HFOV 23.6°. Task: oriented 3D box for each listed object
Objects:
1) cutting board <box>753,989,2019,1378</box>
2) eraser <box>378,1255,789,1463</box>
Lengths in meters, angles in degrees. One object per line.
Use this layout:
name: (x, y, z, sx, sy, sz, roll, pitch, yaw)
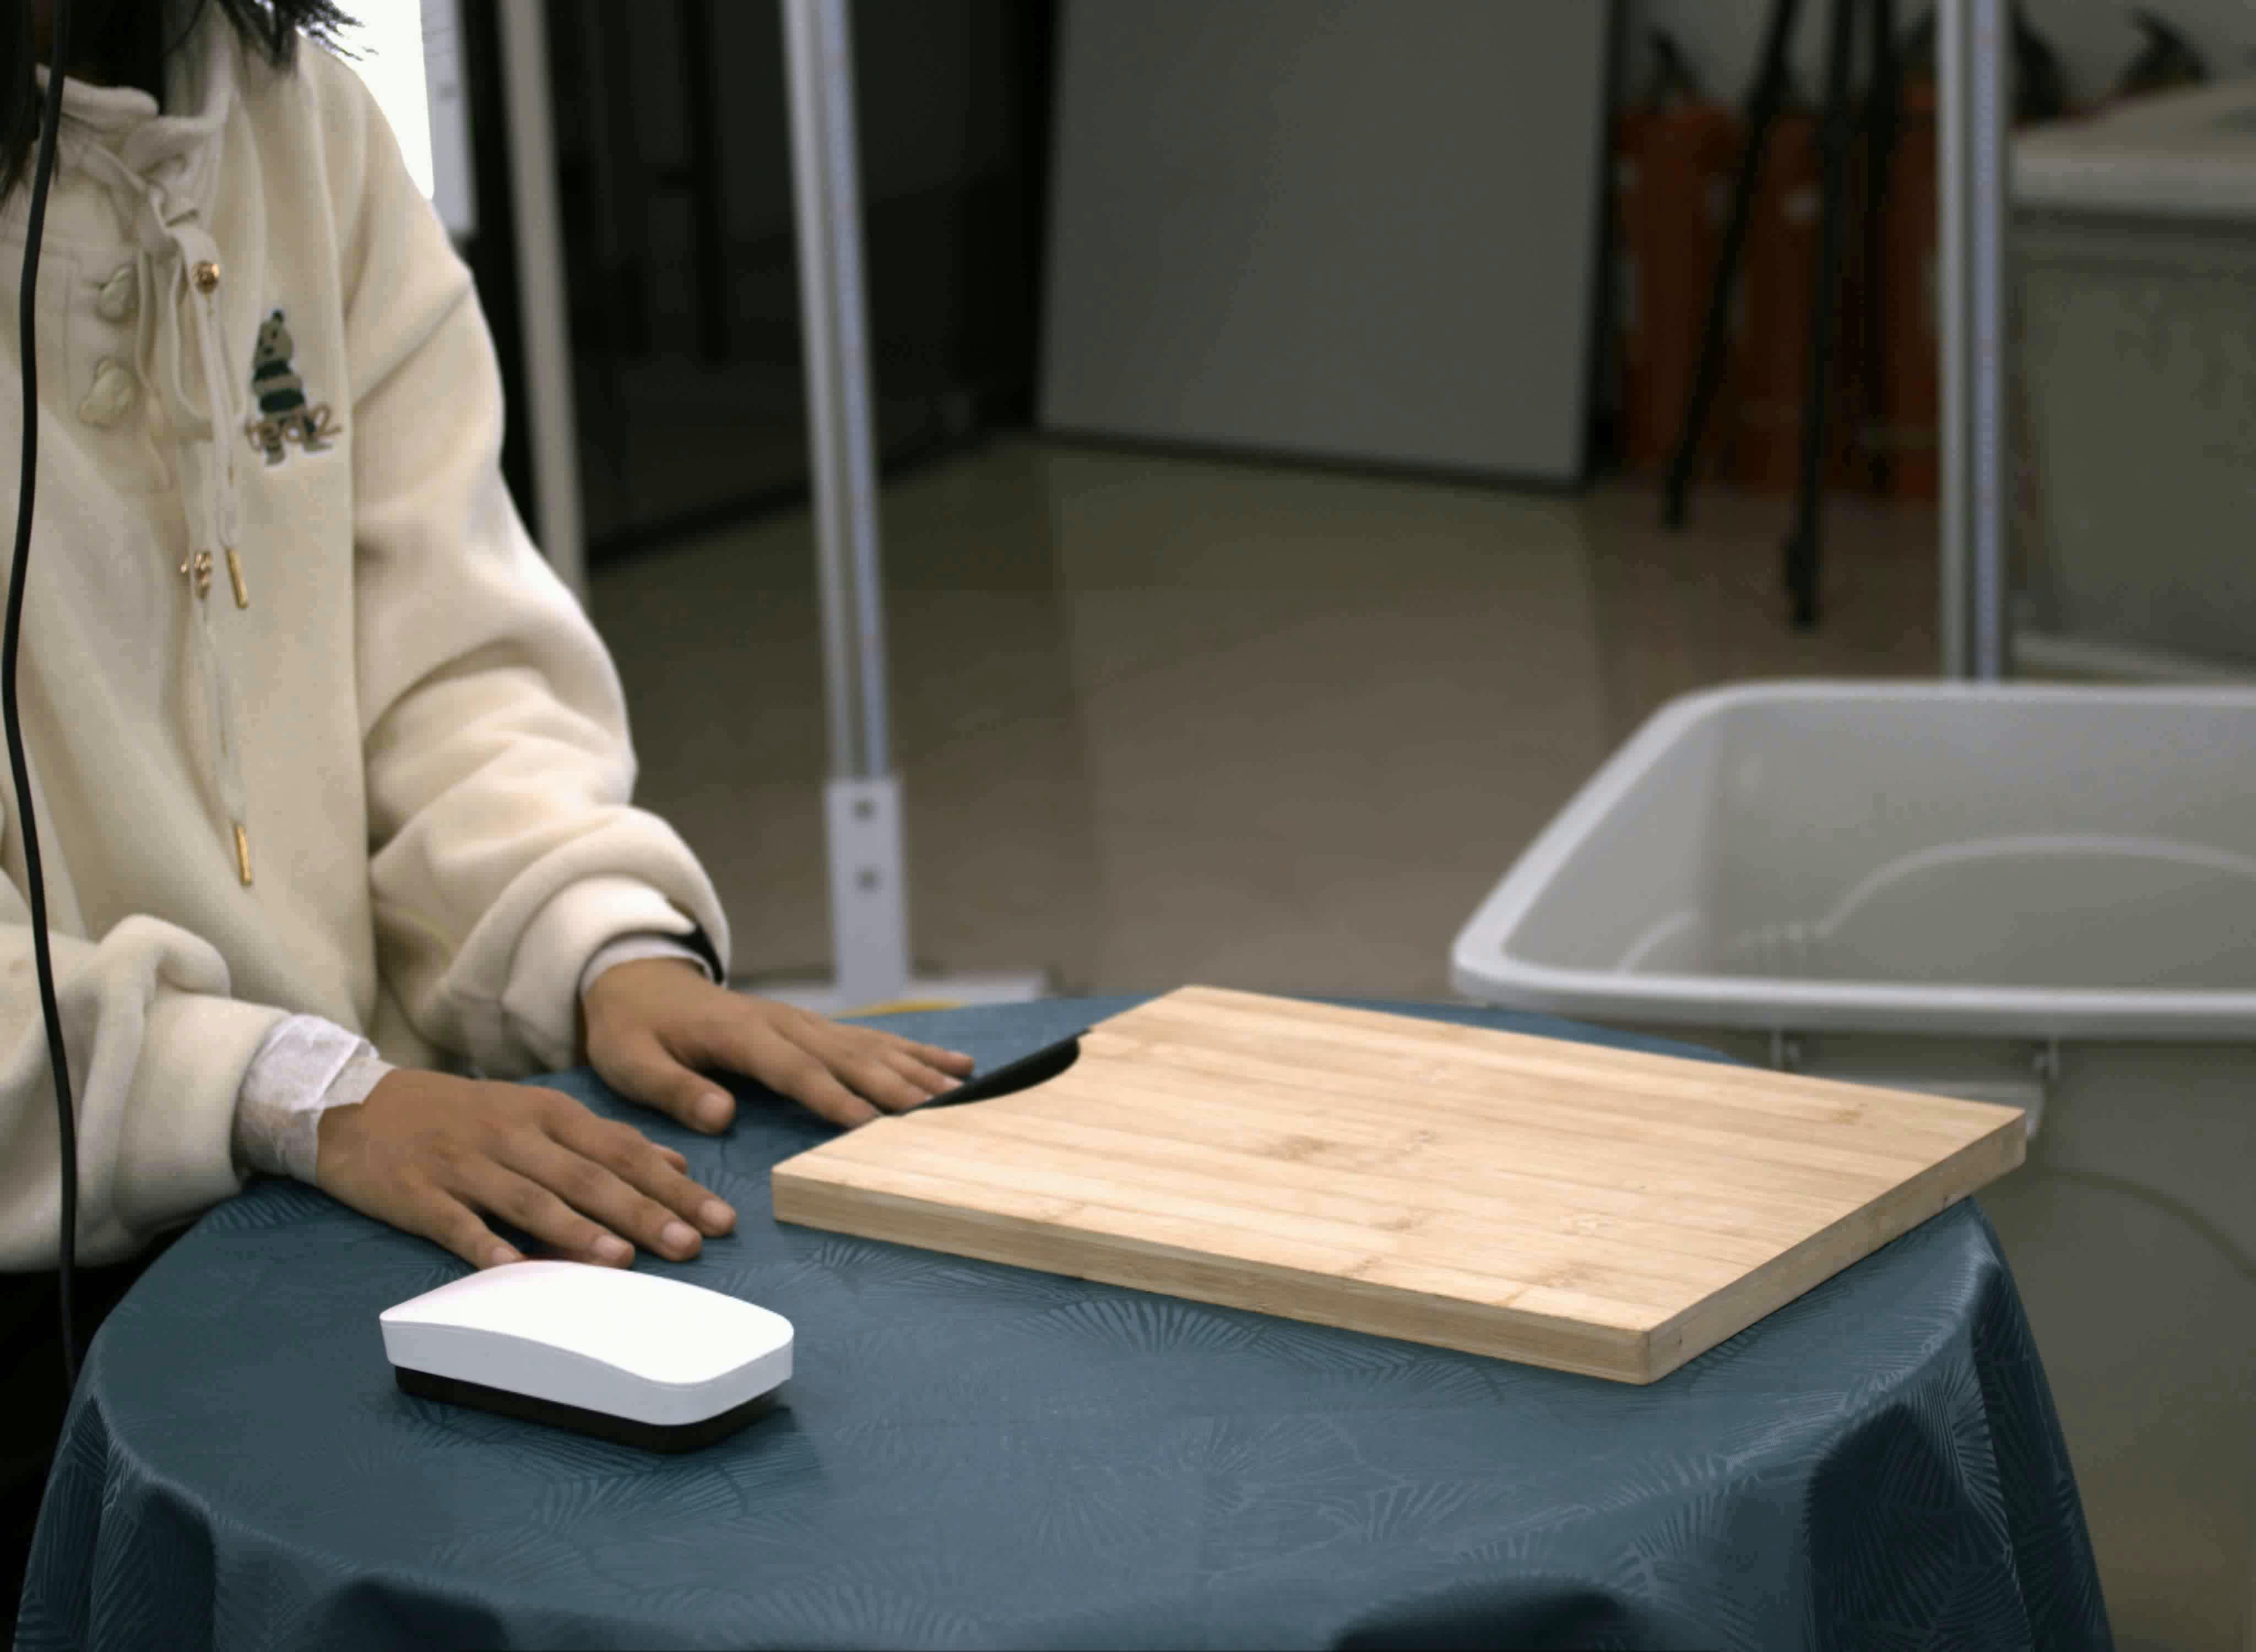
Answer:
cutting board: (0.083, 0.111, 1.754, 0.351, 0.024, 0.246, 6, 17, 37)
eraser: (-0.161, 0.156, 1.611, 0.132, 0.035, 0.062, 8, 19, 40)
